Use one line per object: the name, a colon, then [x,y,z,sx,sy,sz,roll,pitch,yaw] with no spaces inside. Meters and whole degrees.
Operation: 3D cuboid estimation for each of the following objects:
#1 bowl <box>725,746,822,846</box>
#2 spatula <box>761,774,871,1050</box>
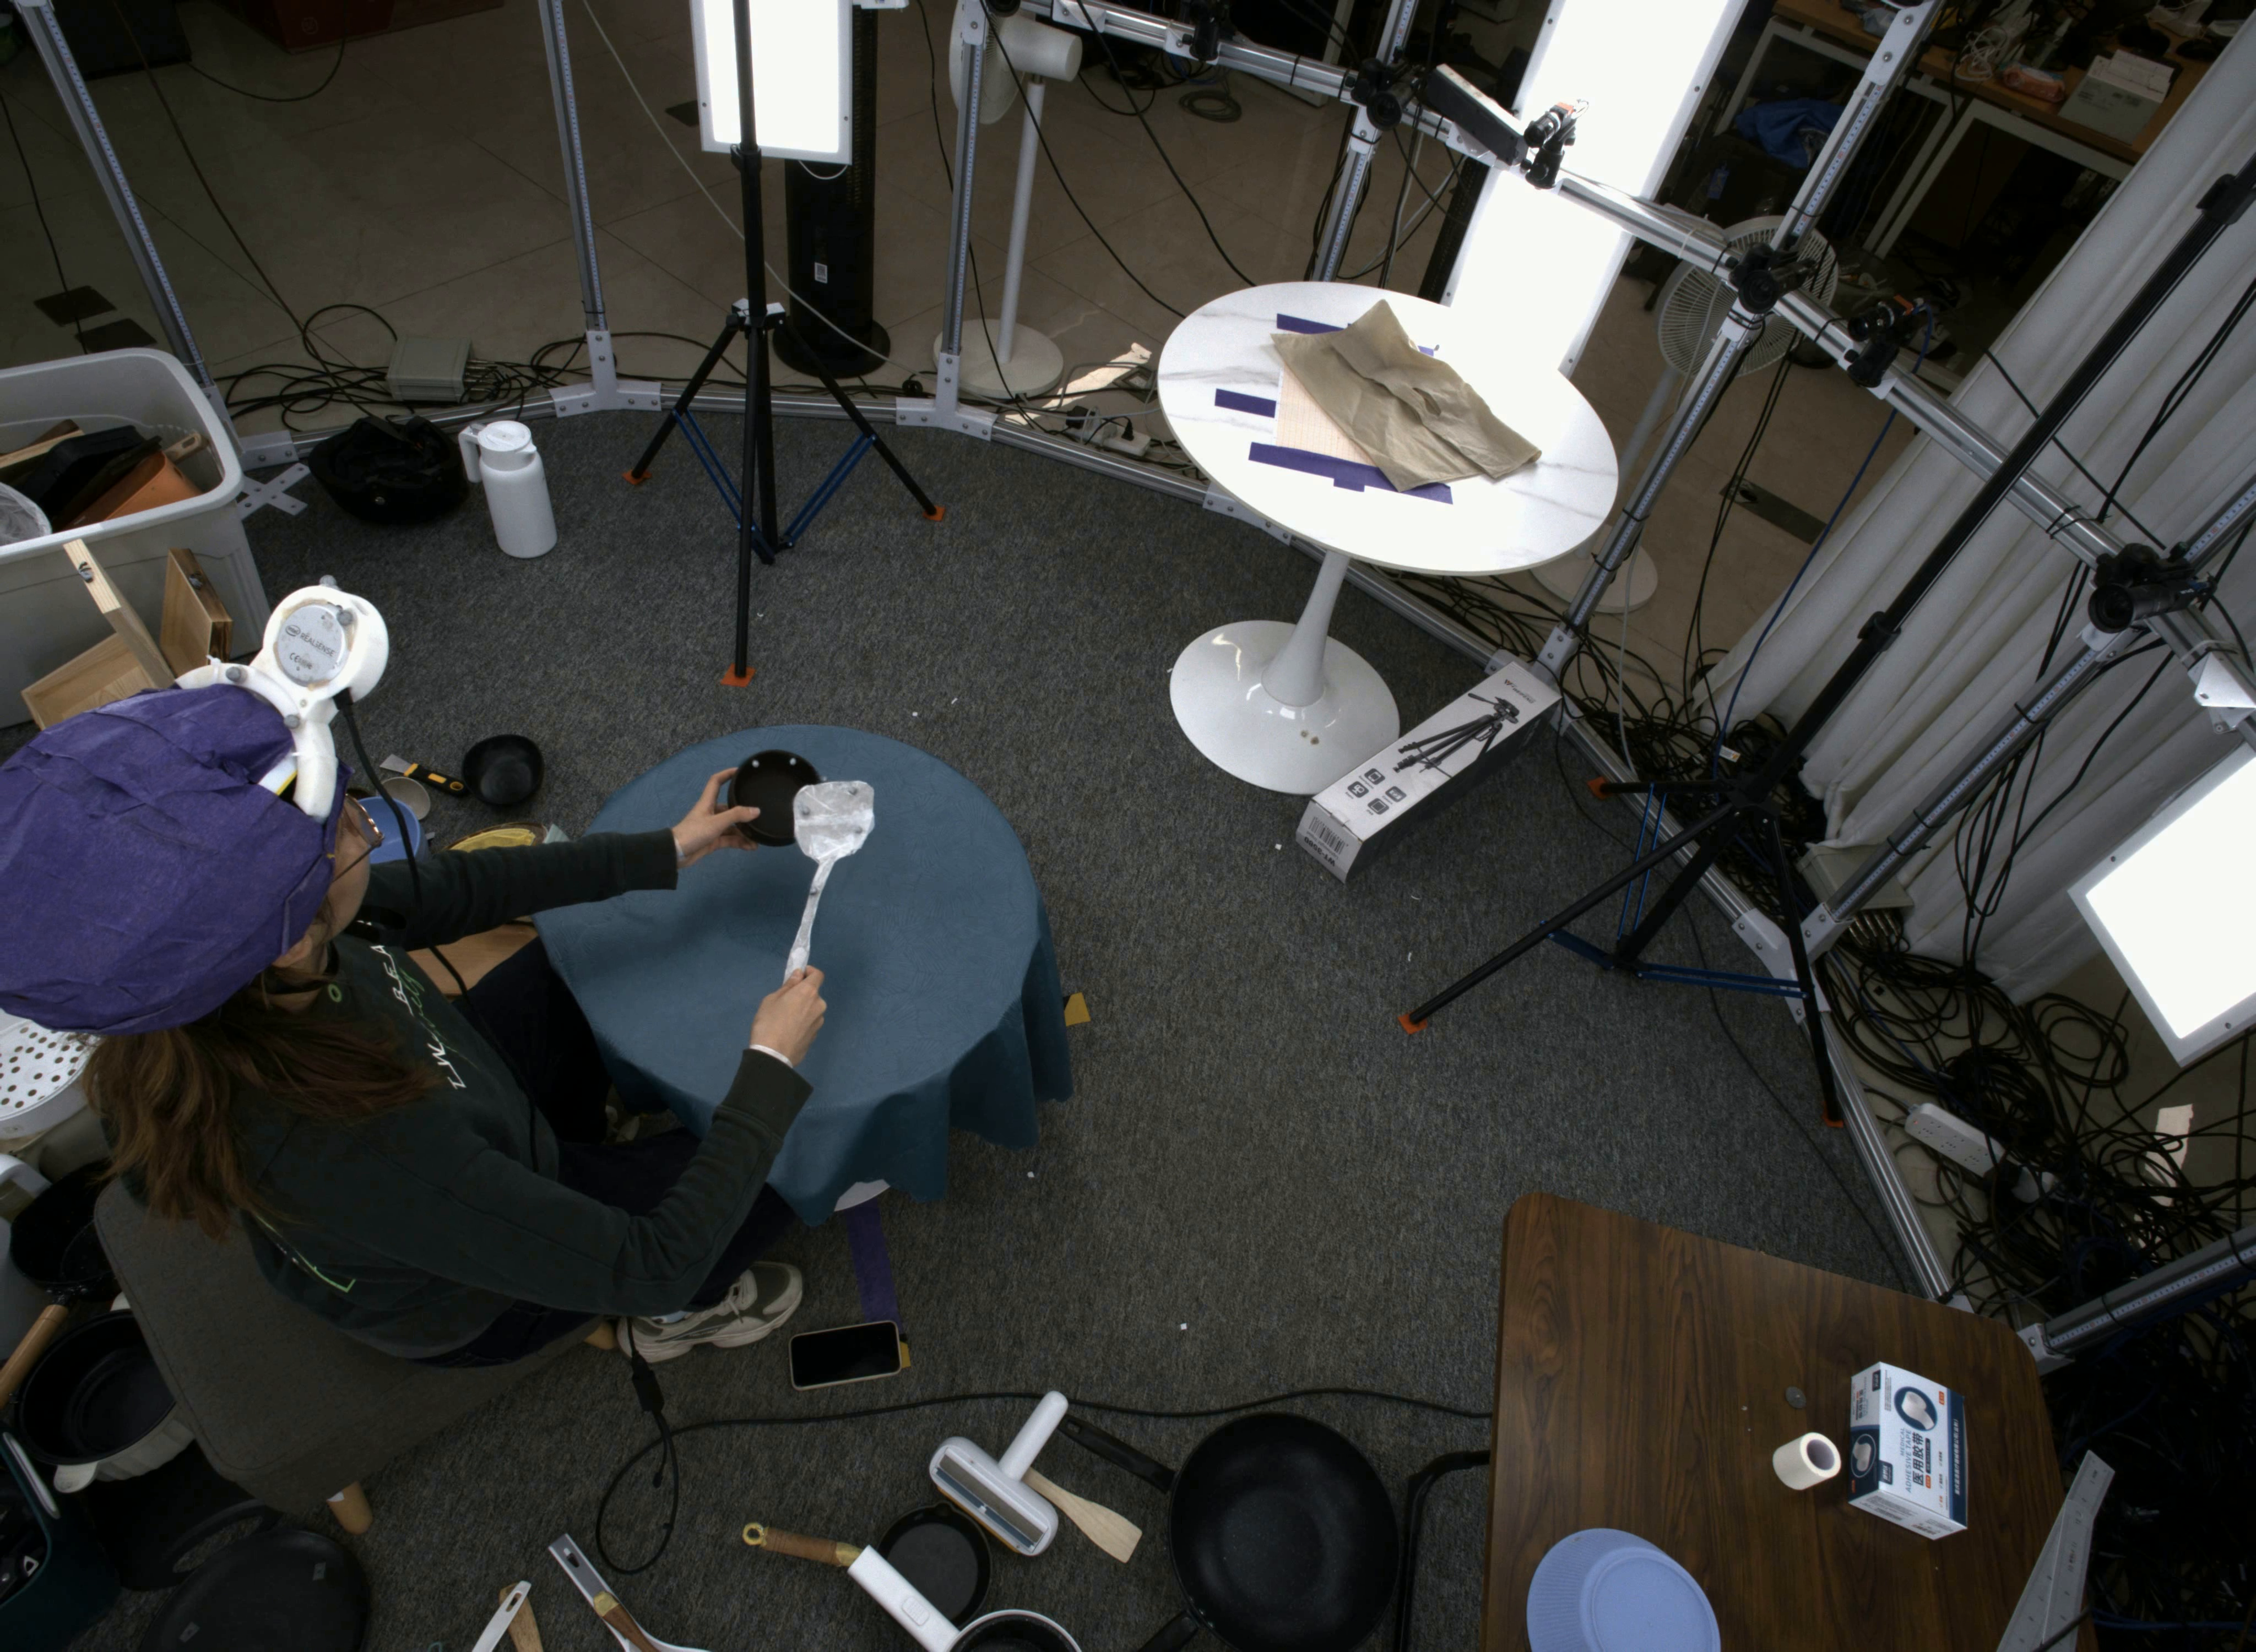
bowl: [-0.436,-0.032,1.591,0.119,0.069,0.117,9,69,-22]
spatula: [-0.356,0.082,1.428,0.097,0.046,0.358,0,46,4]
